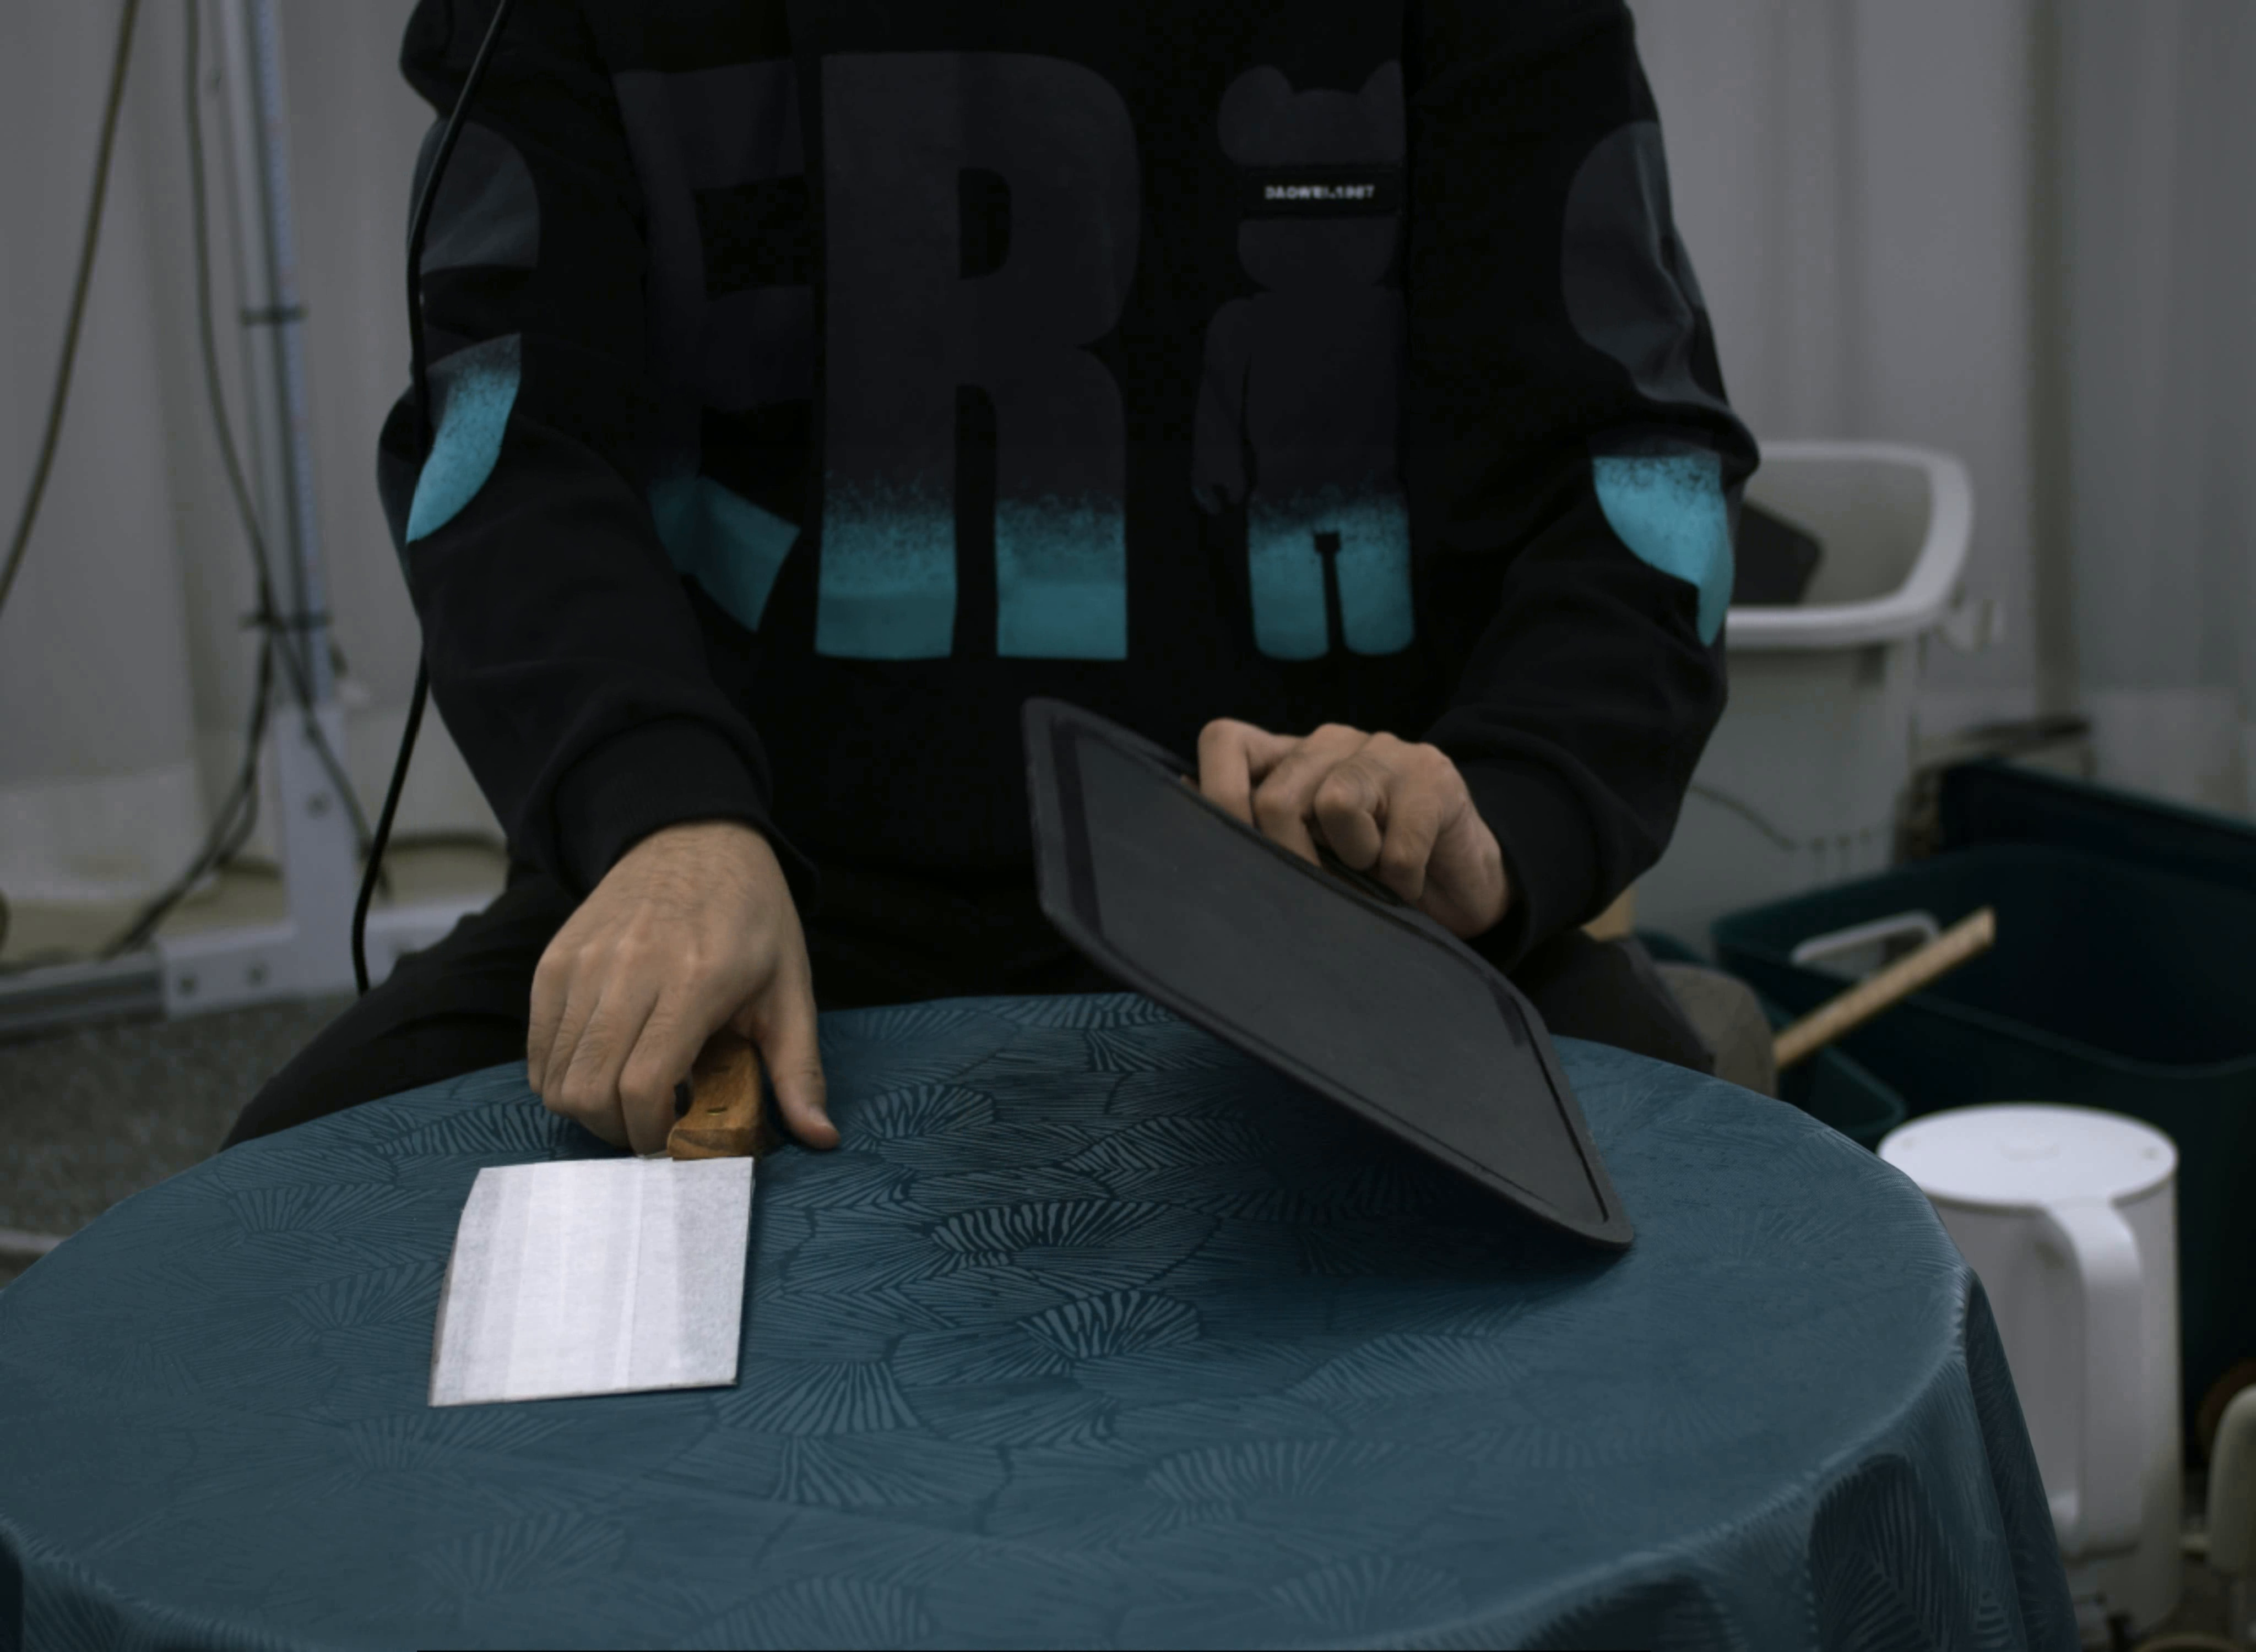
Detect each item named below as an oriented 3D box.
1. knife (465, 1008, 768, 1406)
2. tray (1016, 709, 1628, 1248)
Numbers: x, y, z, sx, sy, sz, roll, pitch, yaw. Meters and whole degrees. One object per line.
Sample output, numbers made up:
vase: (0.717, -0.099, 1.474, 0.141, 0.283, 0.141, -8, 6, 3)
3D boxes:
knife: (-0.160, 0.117, 1.708, 0.092, 0.021, 0.308, -5, 17, -1)
tray: (0.057, 0.039, 1.749, 0.210, 0.010, 0.328, 29, 12, -9)
